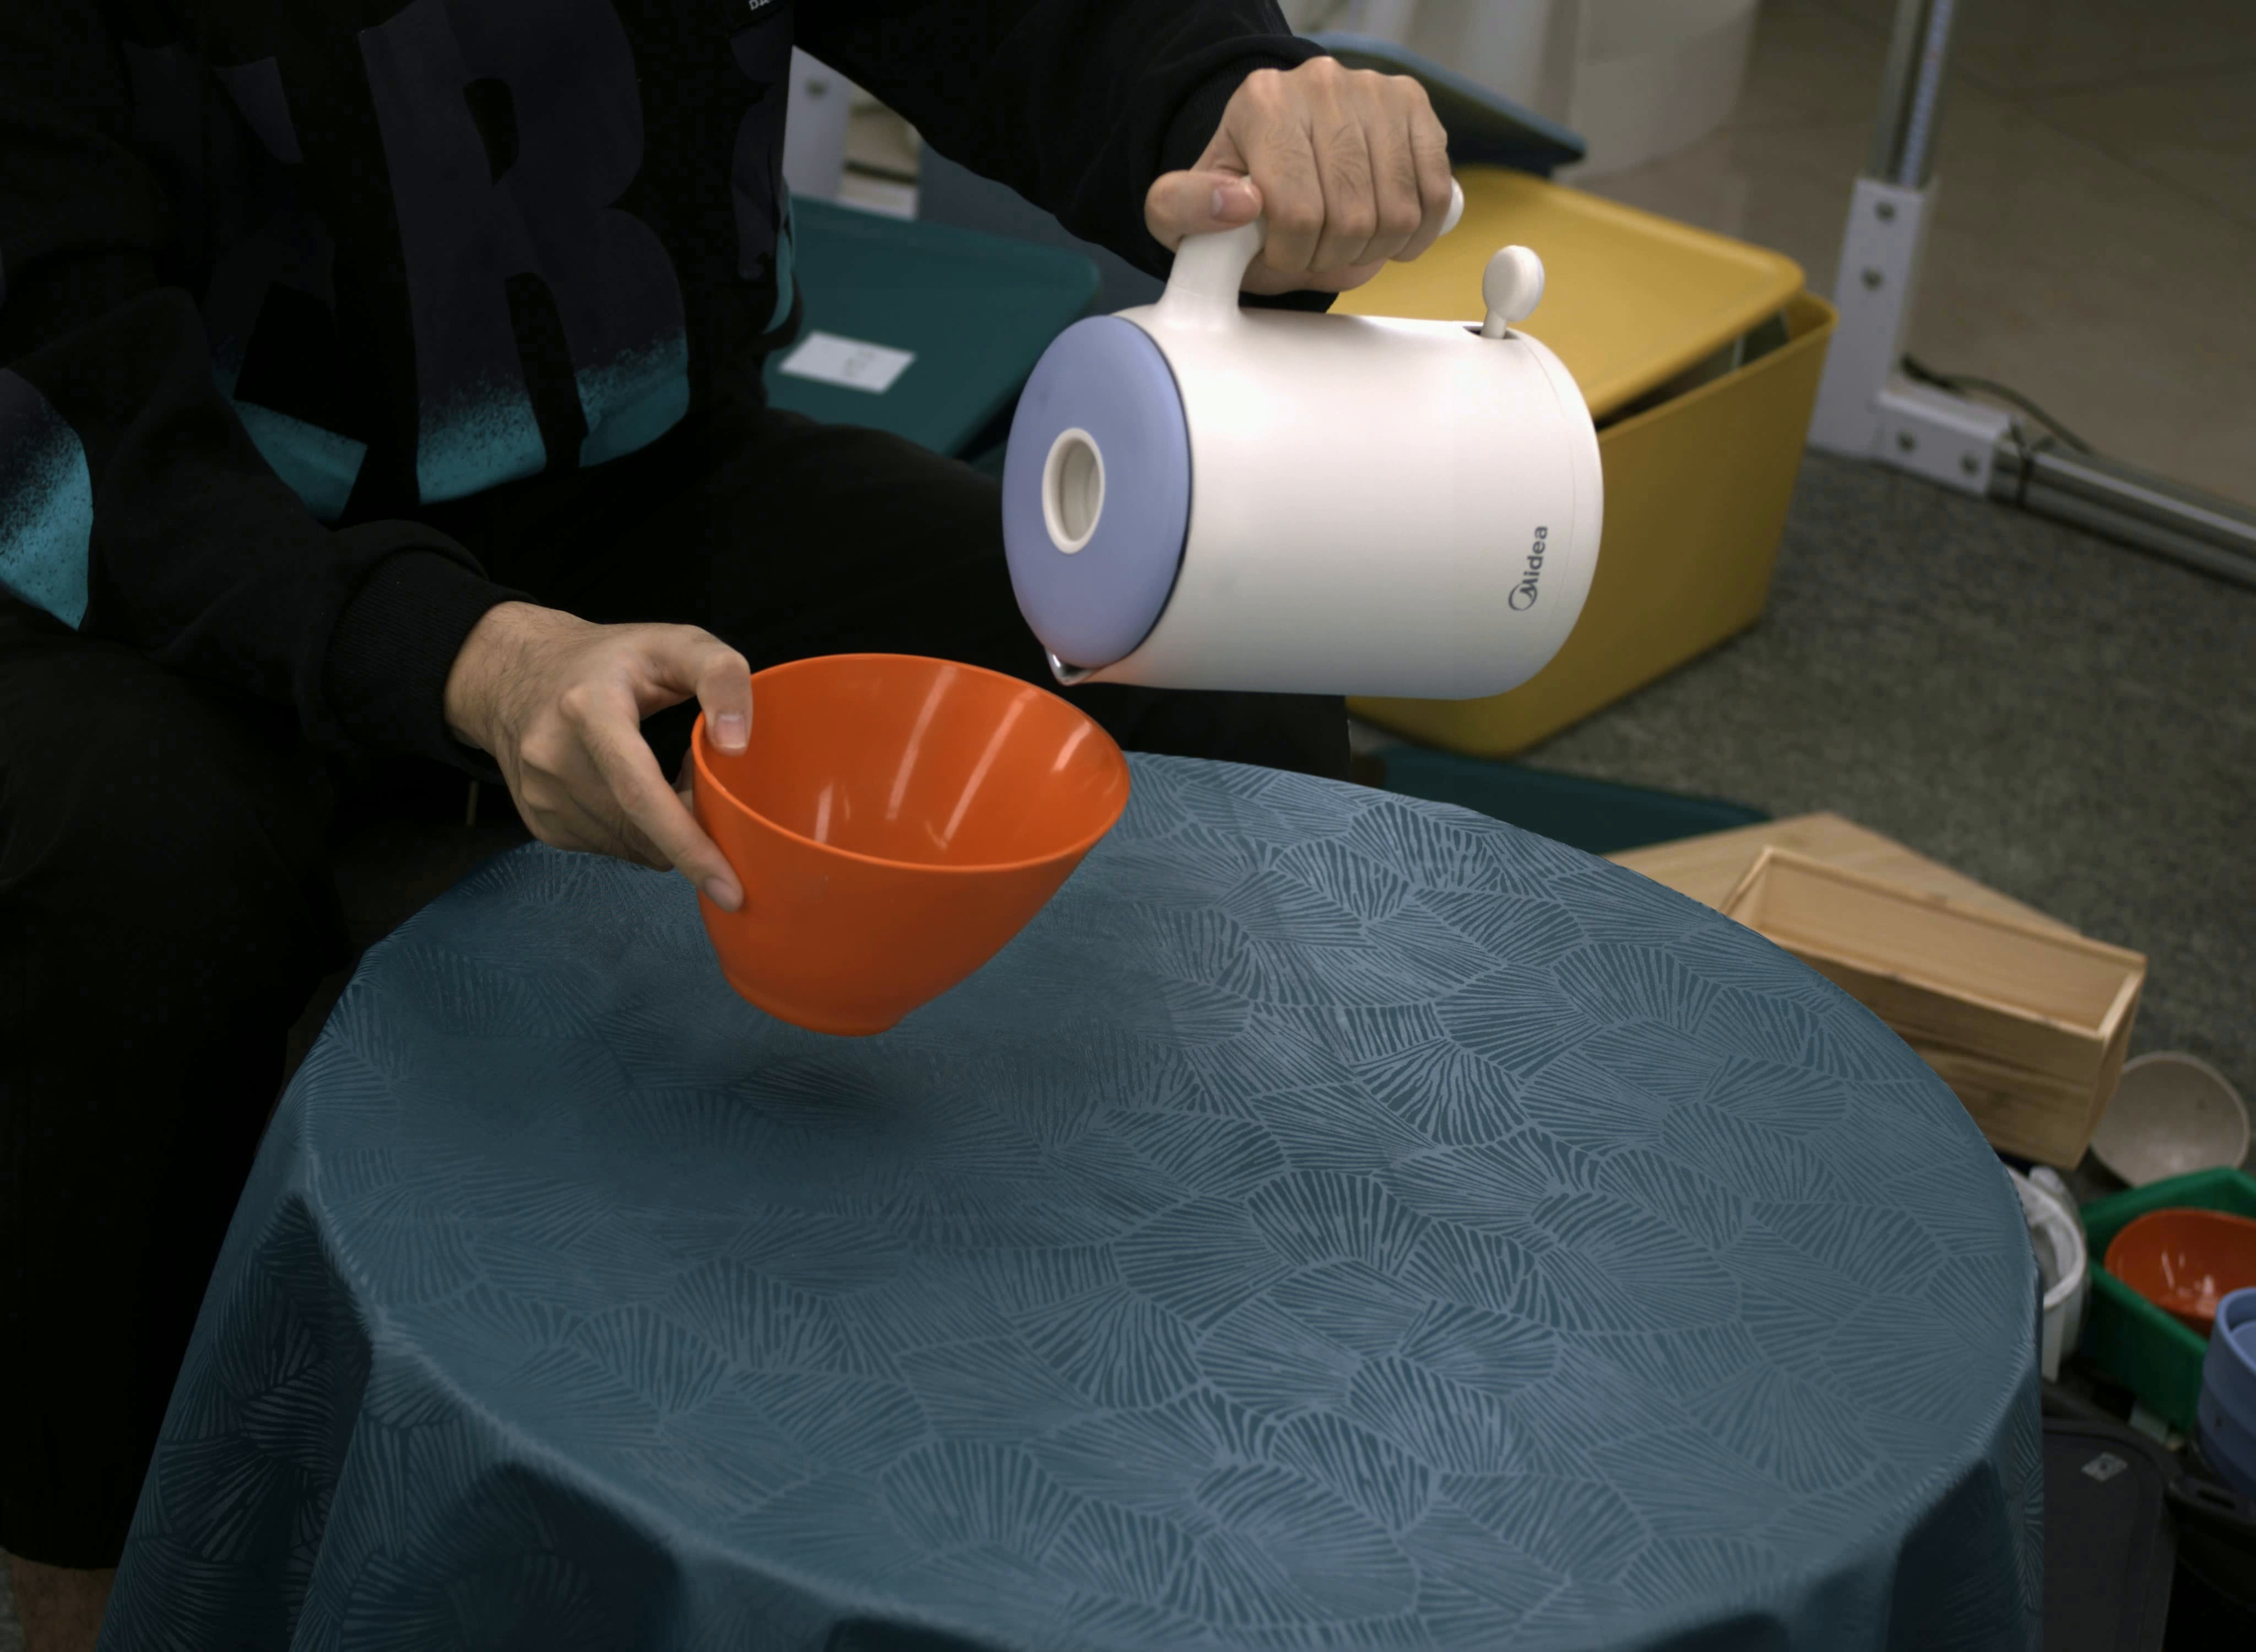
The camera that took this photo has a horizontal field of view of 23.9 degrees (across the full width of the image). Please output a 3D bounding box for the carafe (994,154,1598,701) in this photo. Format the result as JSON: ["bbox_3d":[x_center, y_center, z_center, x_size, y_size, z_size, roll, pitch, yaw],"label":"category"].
[{"bbox_3d":[0.062,-0.135,1.812,0.181,0.191,0.133,4,16,-32],"label":"carafe"}]

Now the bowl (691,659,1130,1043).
[{"bbox_3d":[-0.084,0.014,1.811,0.147,0.104,0.149,15,24,-7],"label":"bowl"}]
